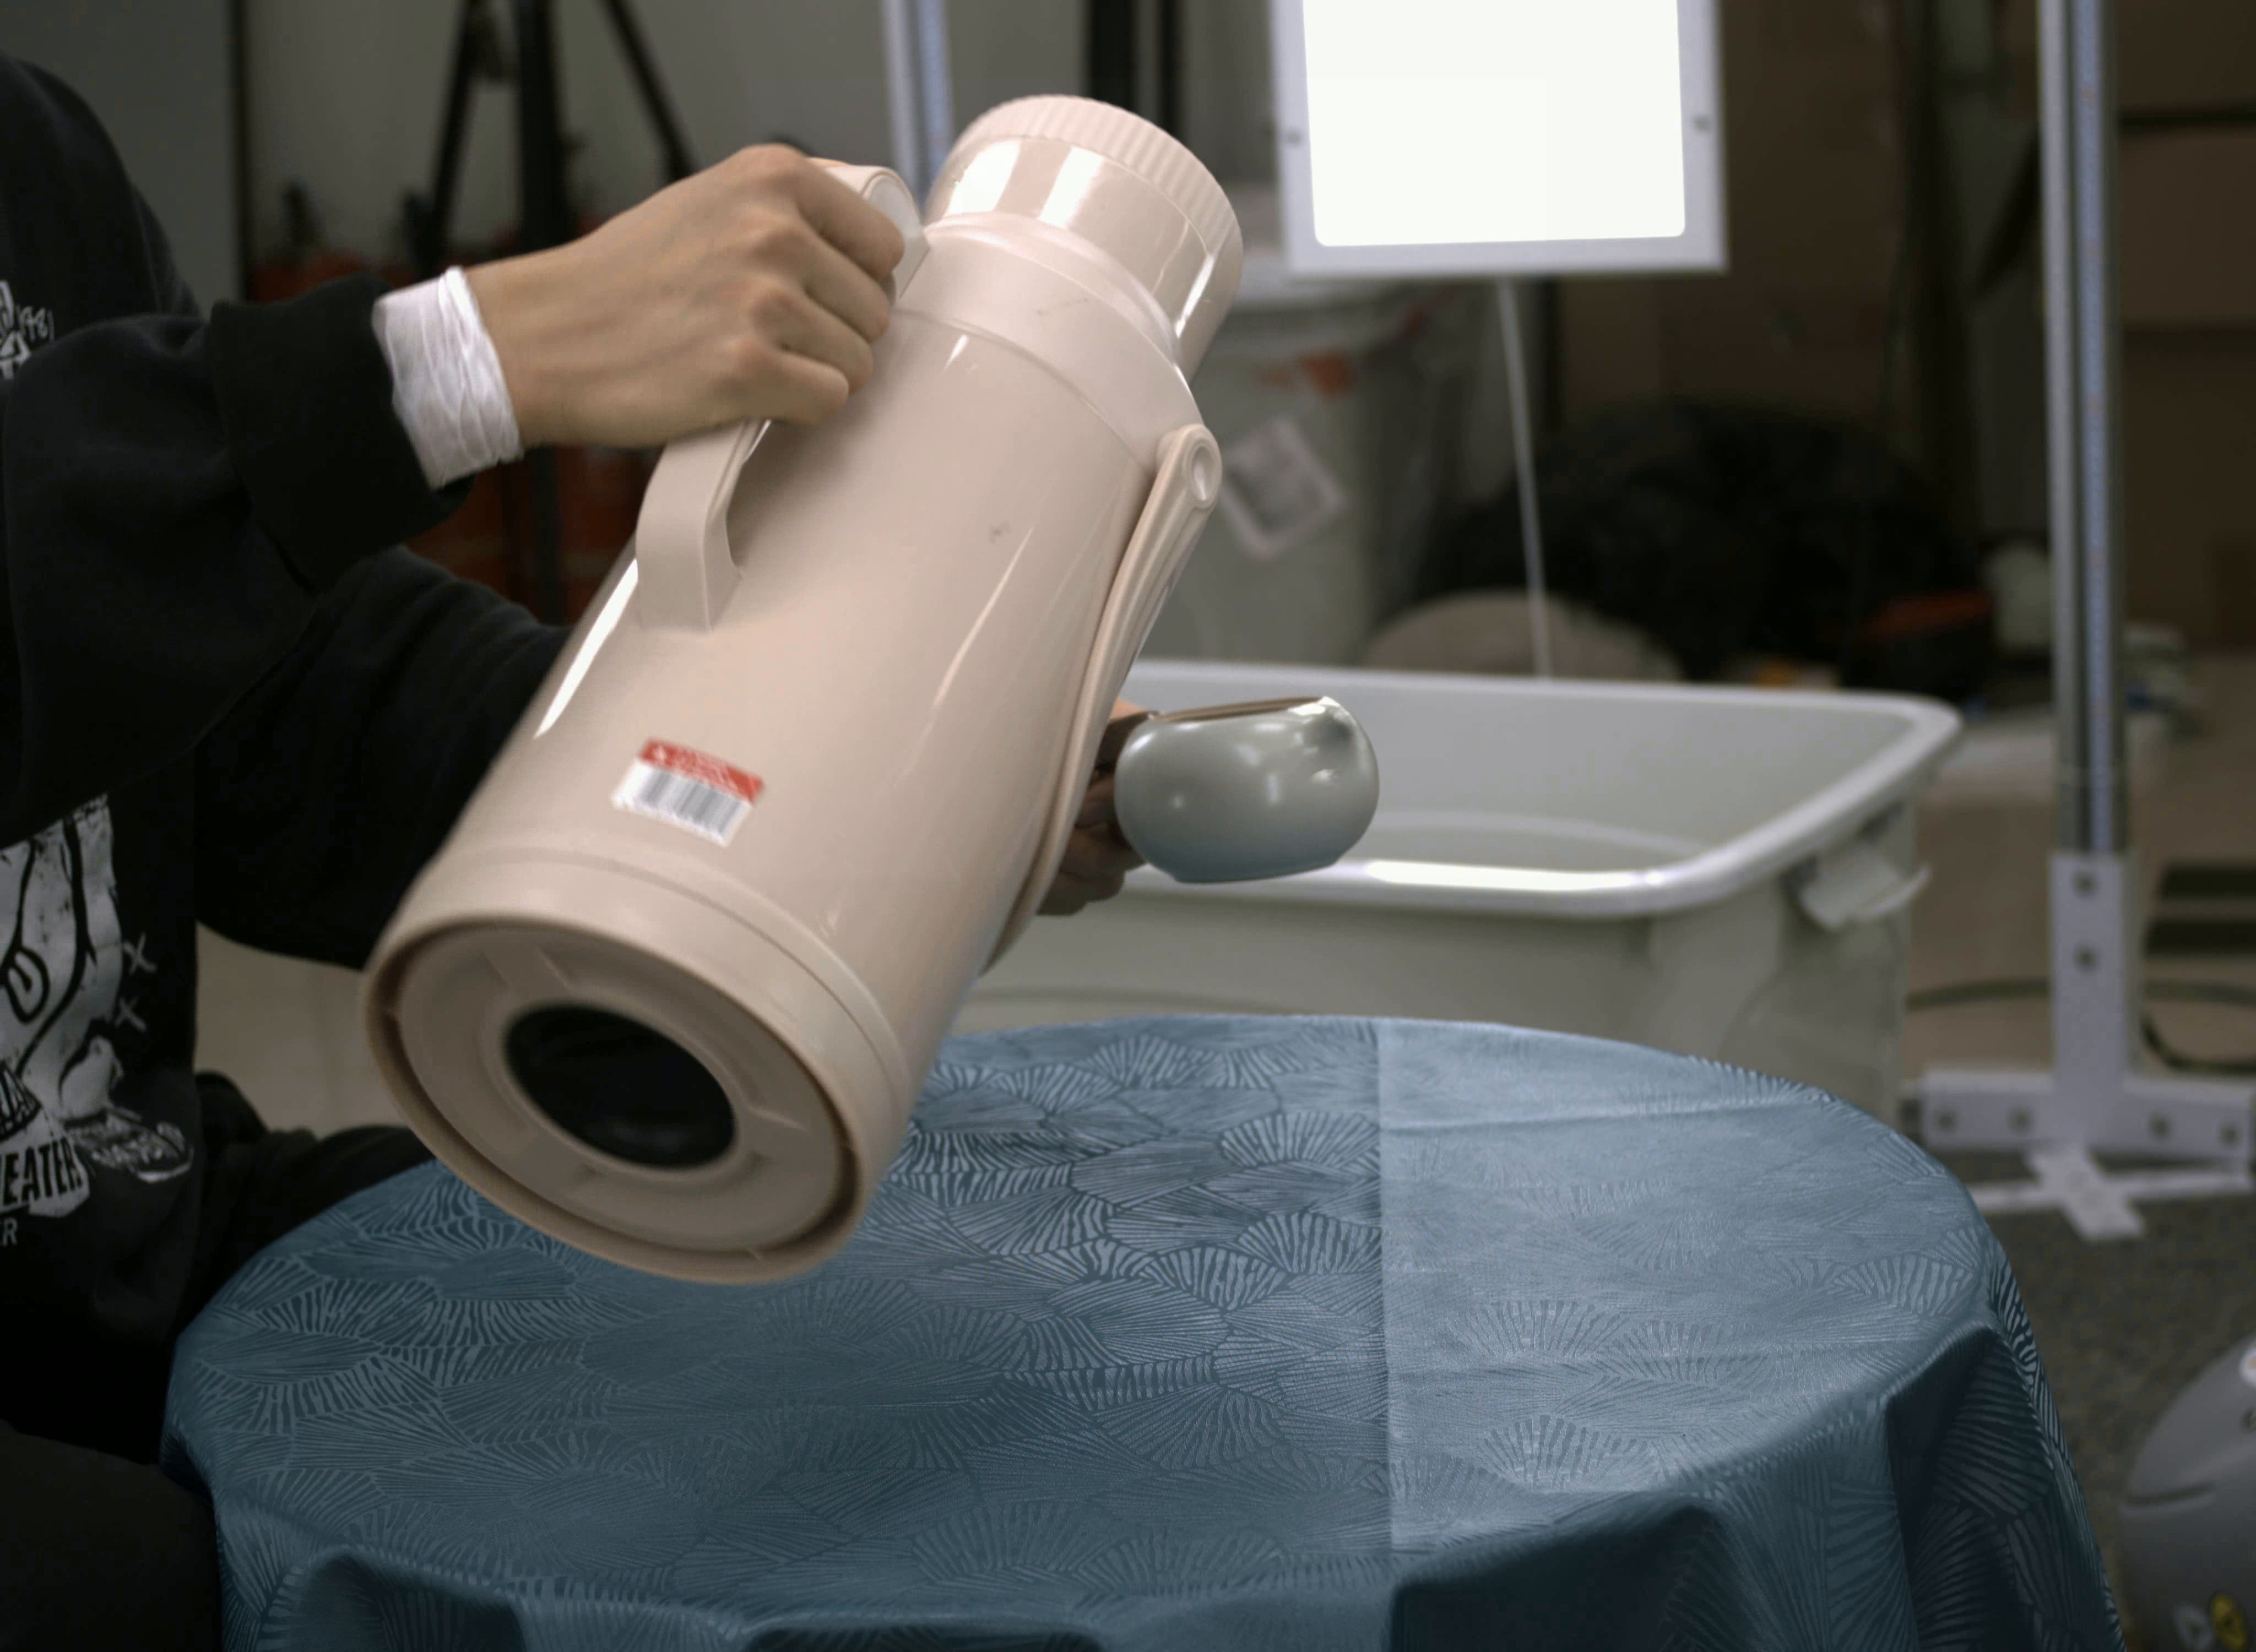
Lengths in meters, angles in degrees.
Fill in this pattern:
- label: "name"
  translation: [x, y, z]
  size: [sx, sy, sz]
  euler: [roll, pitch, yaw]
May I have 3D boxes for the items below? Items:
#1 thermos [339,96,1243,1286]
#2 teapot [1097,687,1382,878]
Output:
- label: "thermos"
  translation: [-0.089, -0.069, 1.686]
  size: [0.178, 0.206, 0.400]
  euler: [5, 48, 29]
- label: "teapot"
  translation: [0.035, -0.015, 1.895]
  size: [0.089, 0.060, 0.131]
  euler: [-16, 11, -42]
